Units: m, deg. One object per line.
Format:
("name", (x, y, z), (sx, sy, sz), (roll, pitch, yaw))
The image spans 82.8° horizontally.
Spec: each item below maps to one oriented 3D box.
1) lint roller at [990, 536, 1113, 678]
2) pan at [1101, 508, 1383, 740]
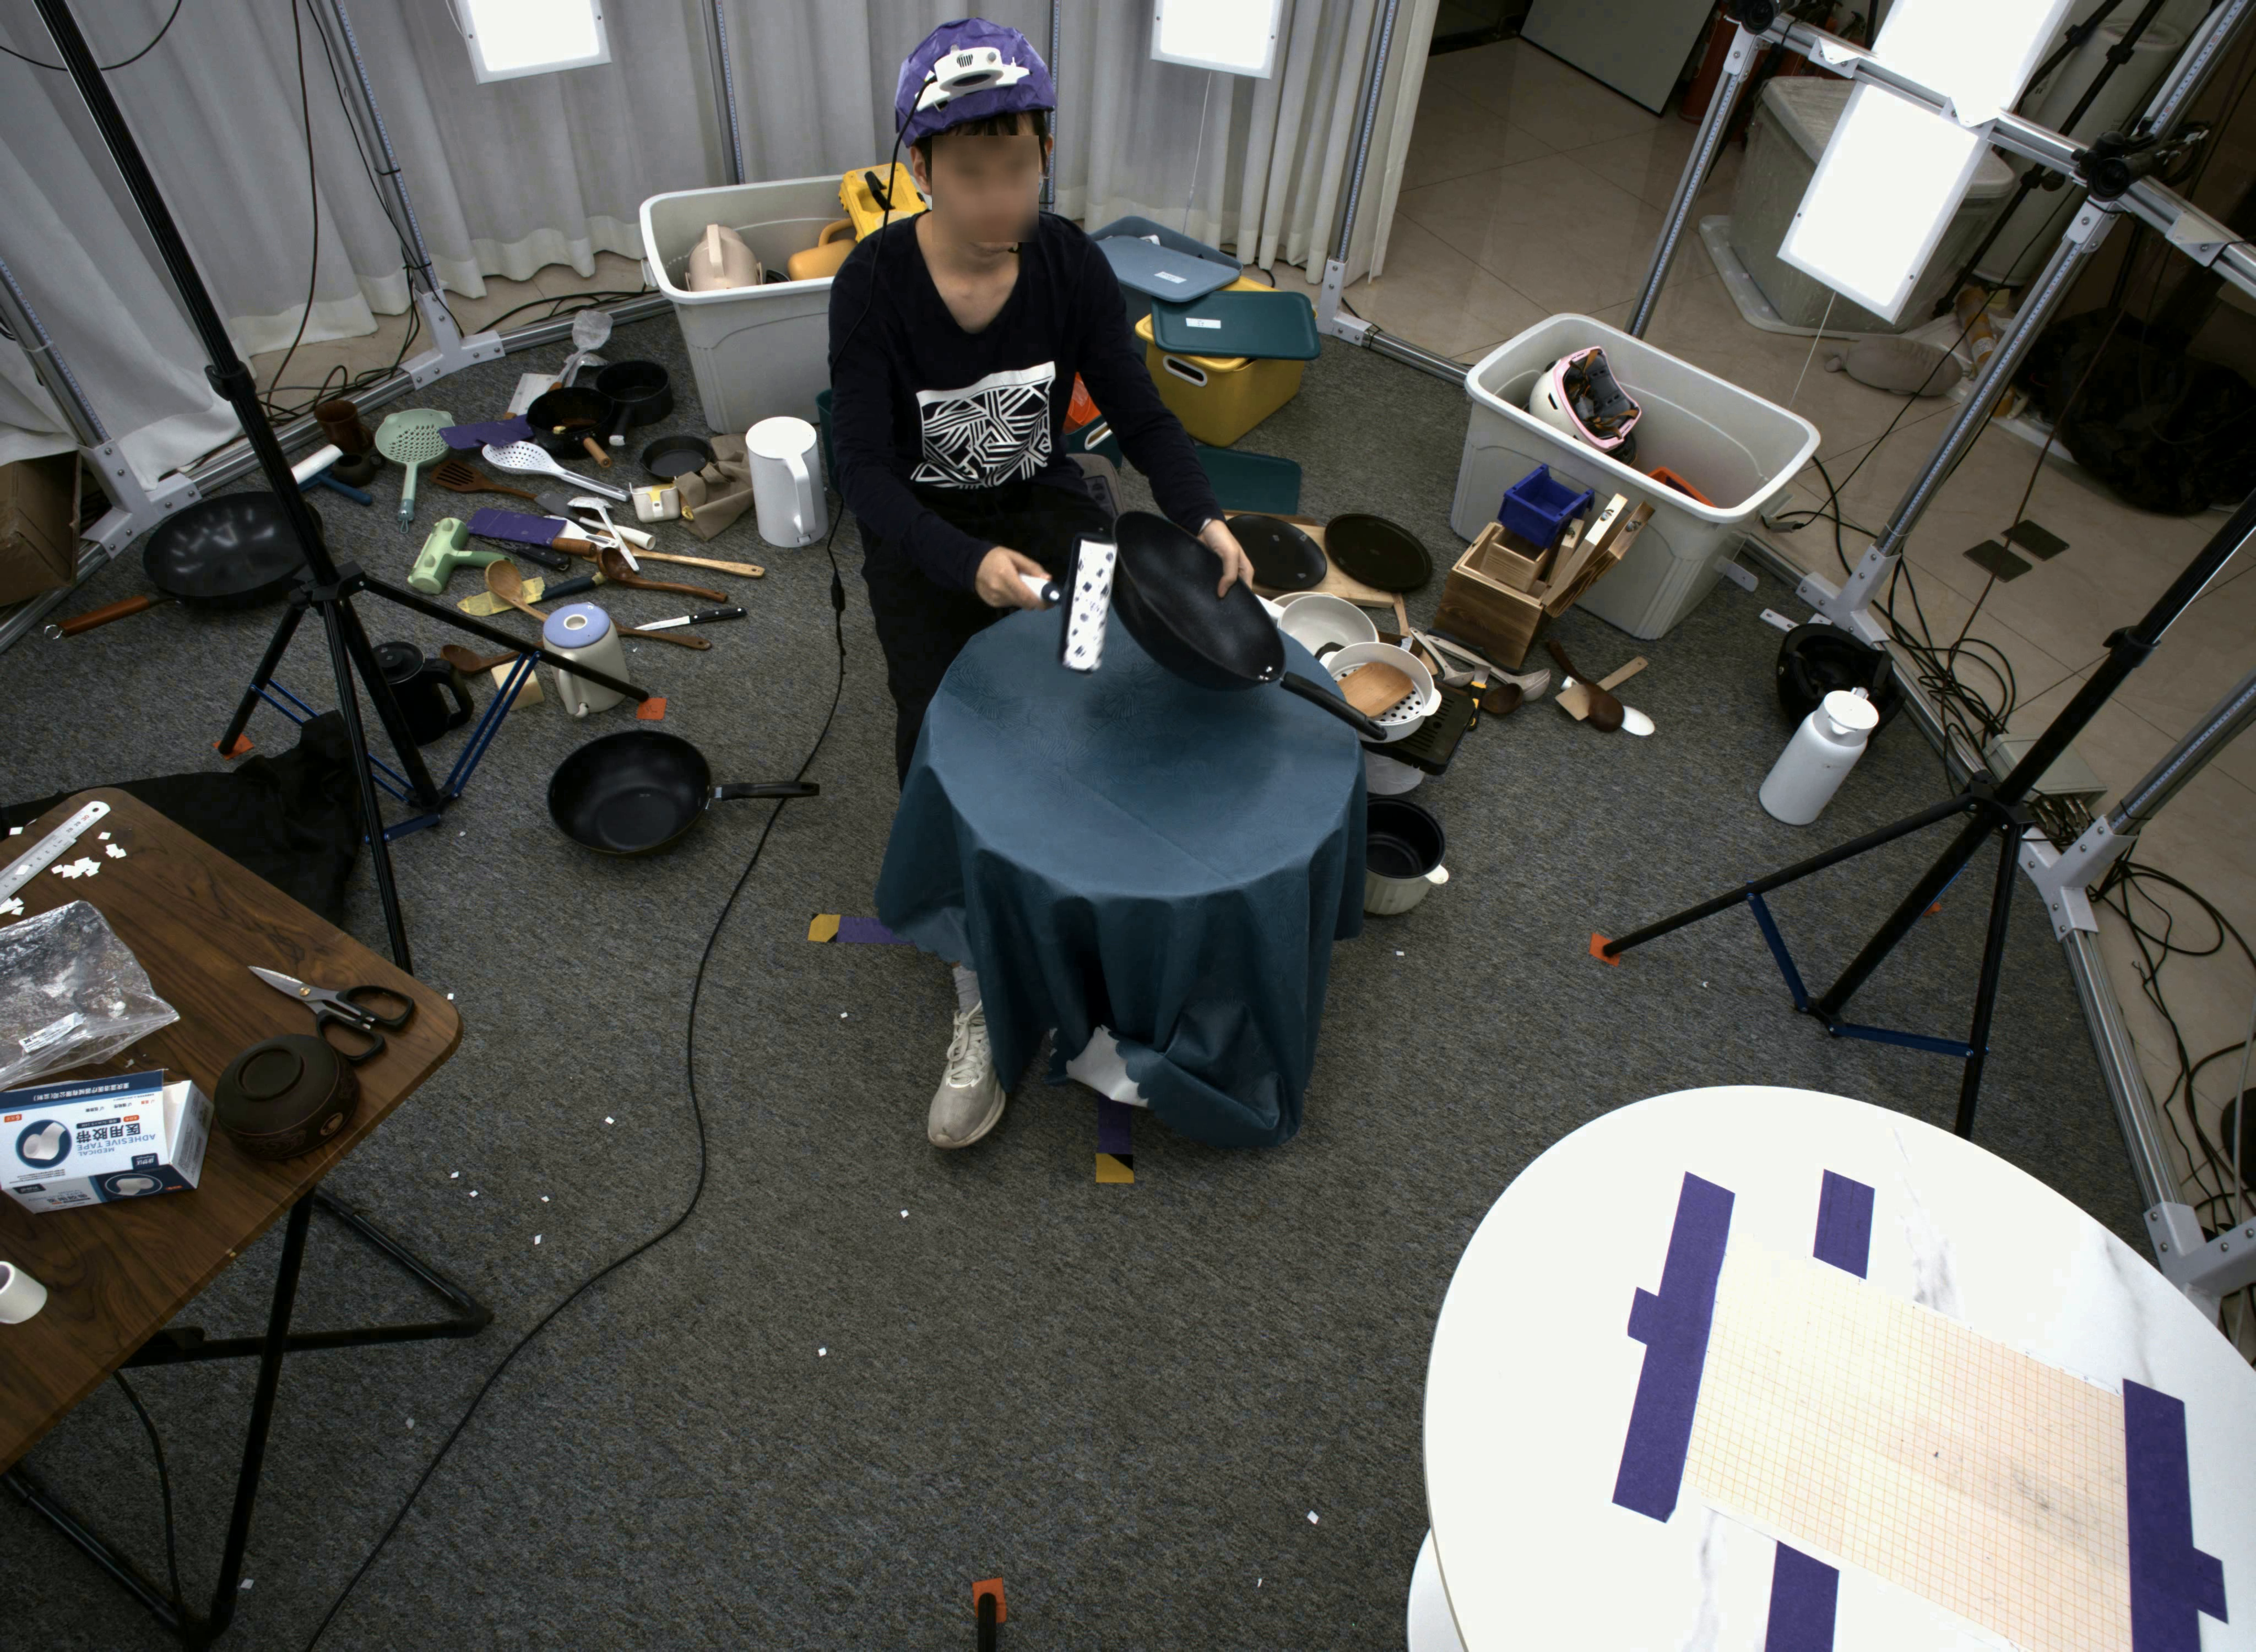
("lint roller", (-0.117, -0.309, 1.720), (0.050, 0.174, 0.250), (-2, 18, -41))
("pan", (0.139, -0.244, 1.757), (0.474, 0.110, 0.316), (39, 32, -9))
